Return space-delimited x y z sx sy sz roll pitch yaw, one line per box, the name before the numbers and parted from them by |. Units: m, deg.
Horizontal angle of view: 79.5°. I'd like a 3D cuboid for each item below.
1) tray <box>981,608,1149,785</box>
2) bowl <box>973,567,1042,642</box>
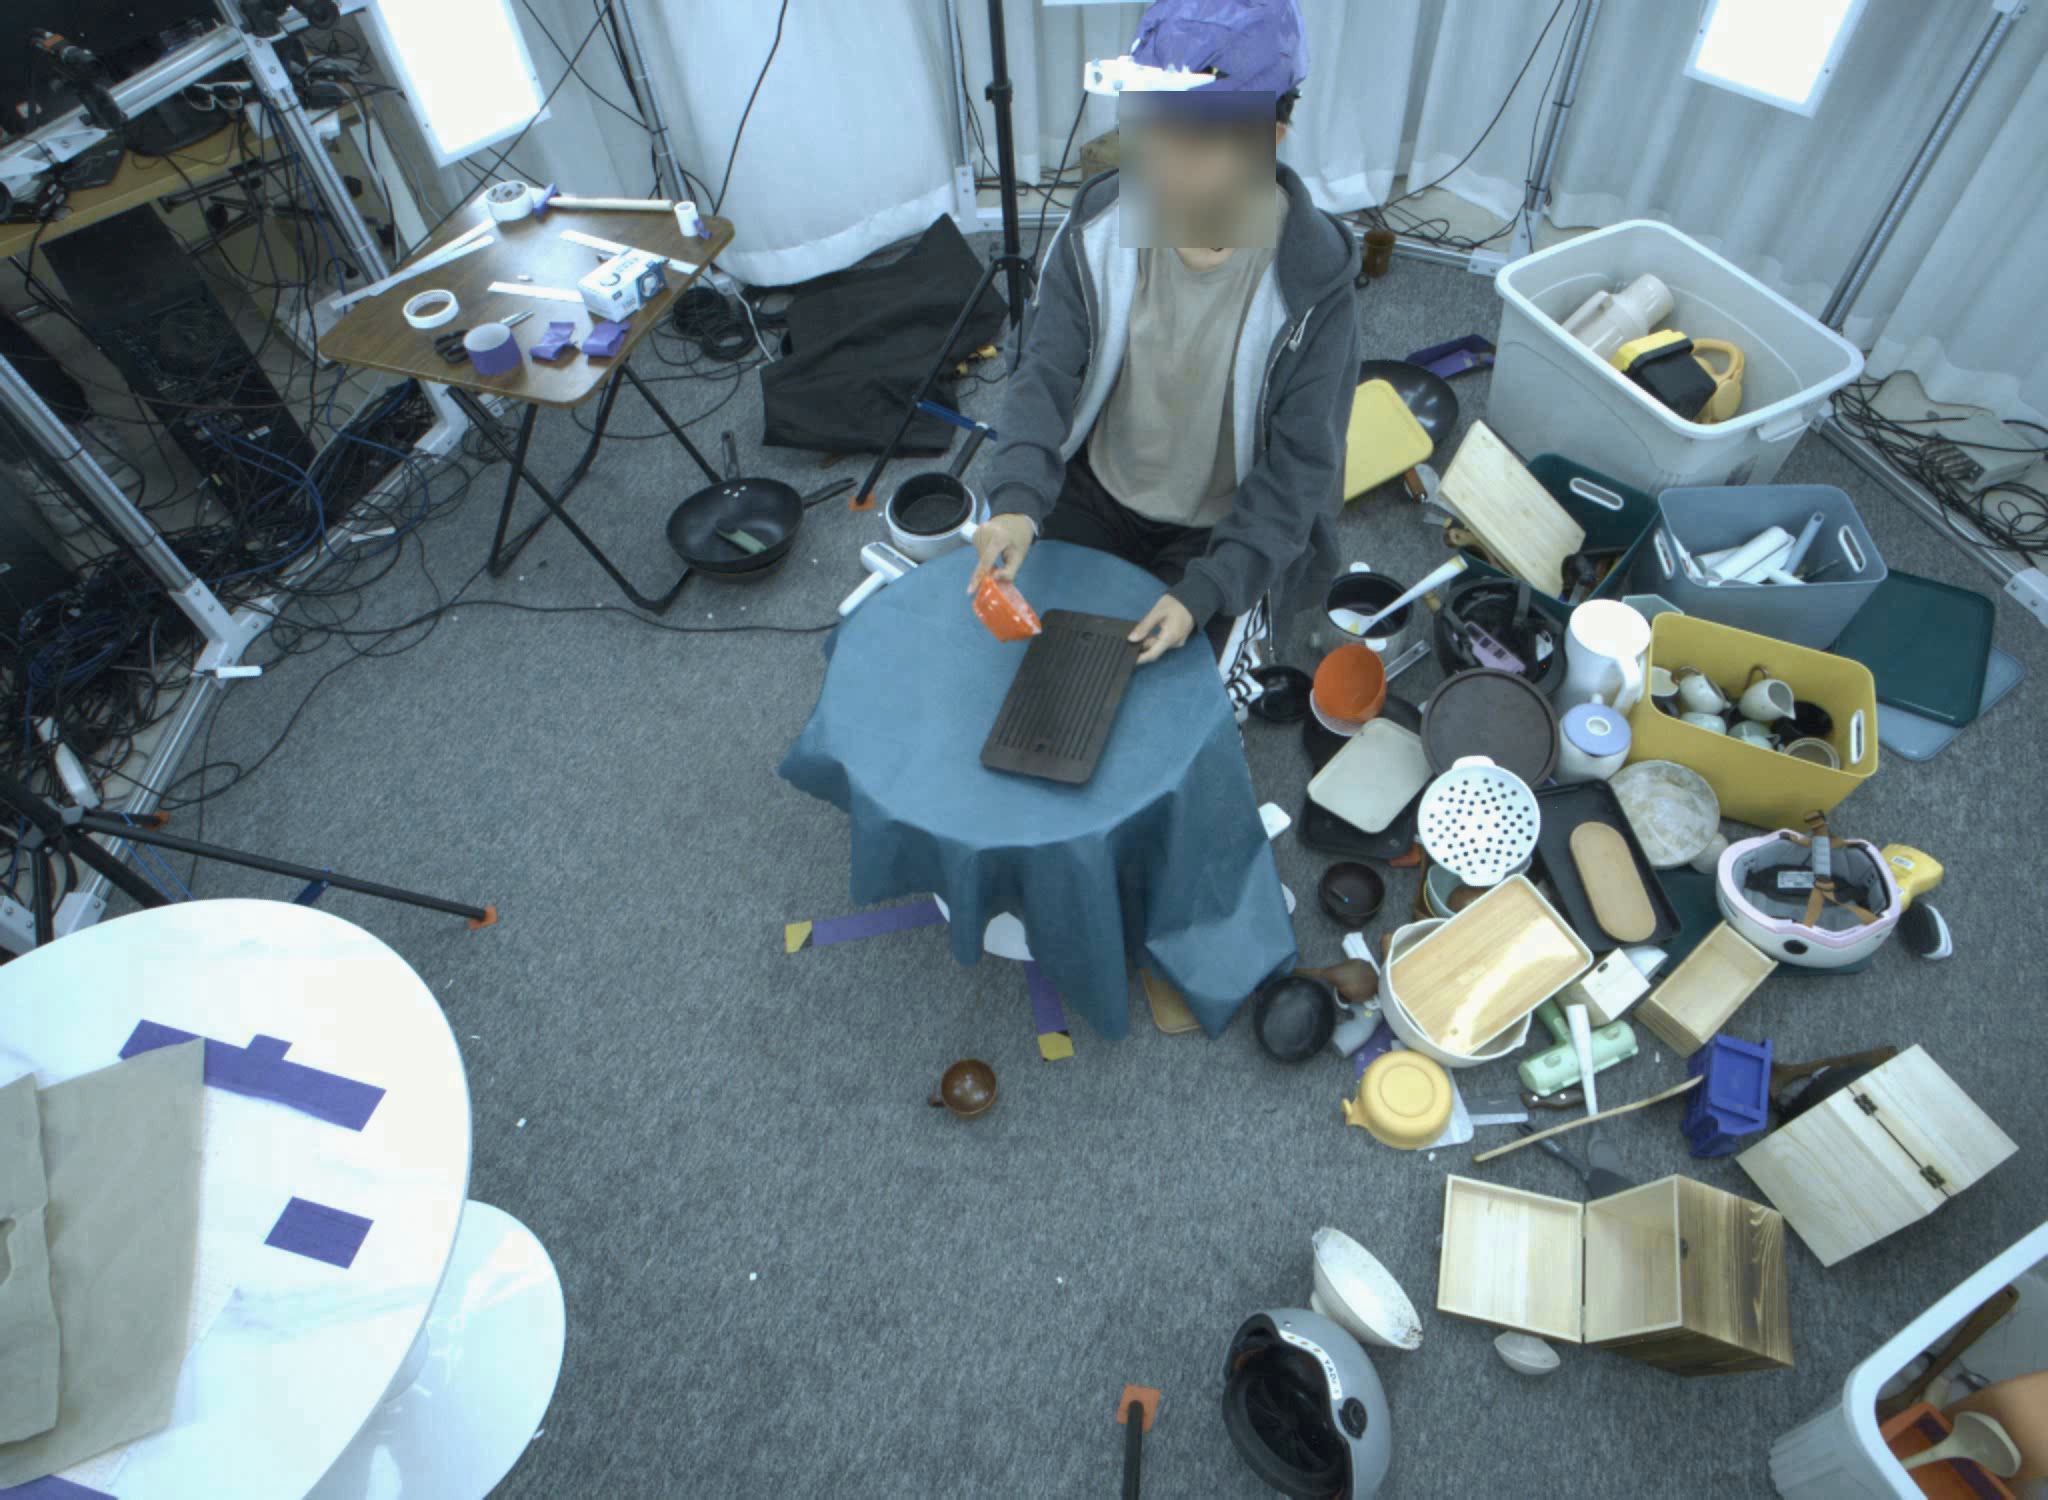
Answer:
tray | 0.064 -0.083 1.819 0.168 0.019 0.305 12 58 18
bowl | -0.030 -0.193 1.696 0.051 0.121 0.117 -39 56 15
